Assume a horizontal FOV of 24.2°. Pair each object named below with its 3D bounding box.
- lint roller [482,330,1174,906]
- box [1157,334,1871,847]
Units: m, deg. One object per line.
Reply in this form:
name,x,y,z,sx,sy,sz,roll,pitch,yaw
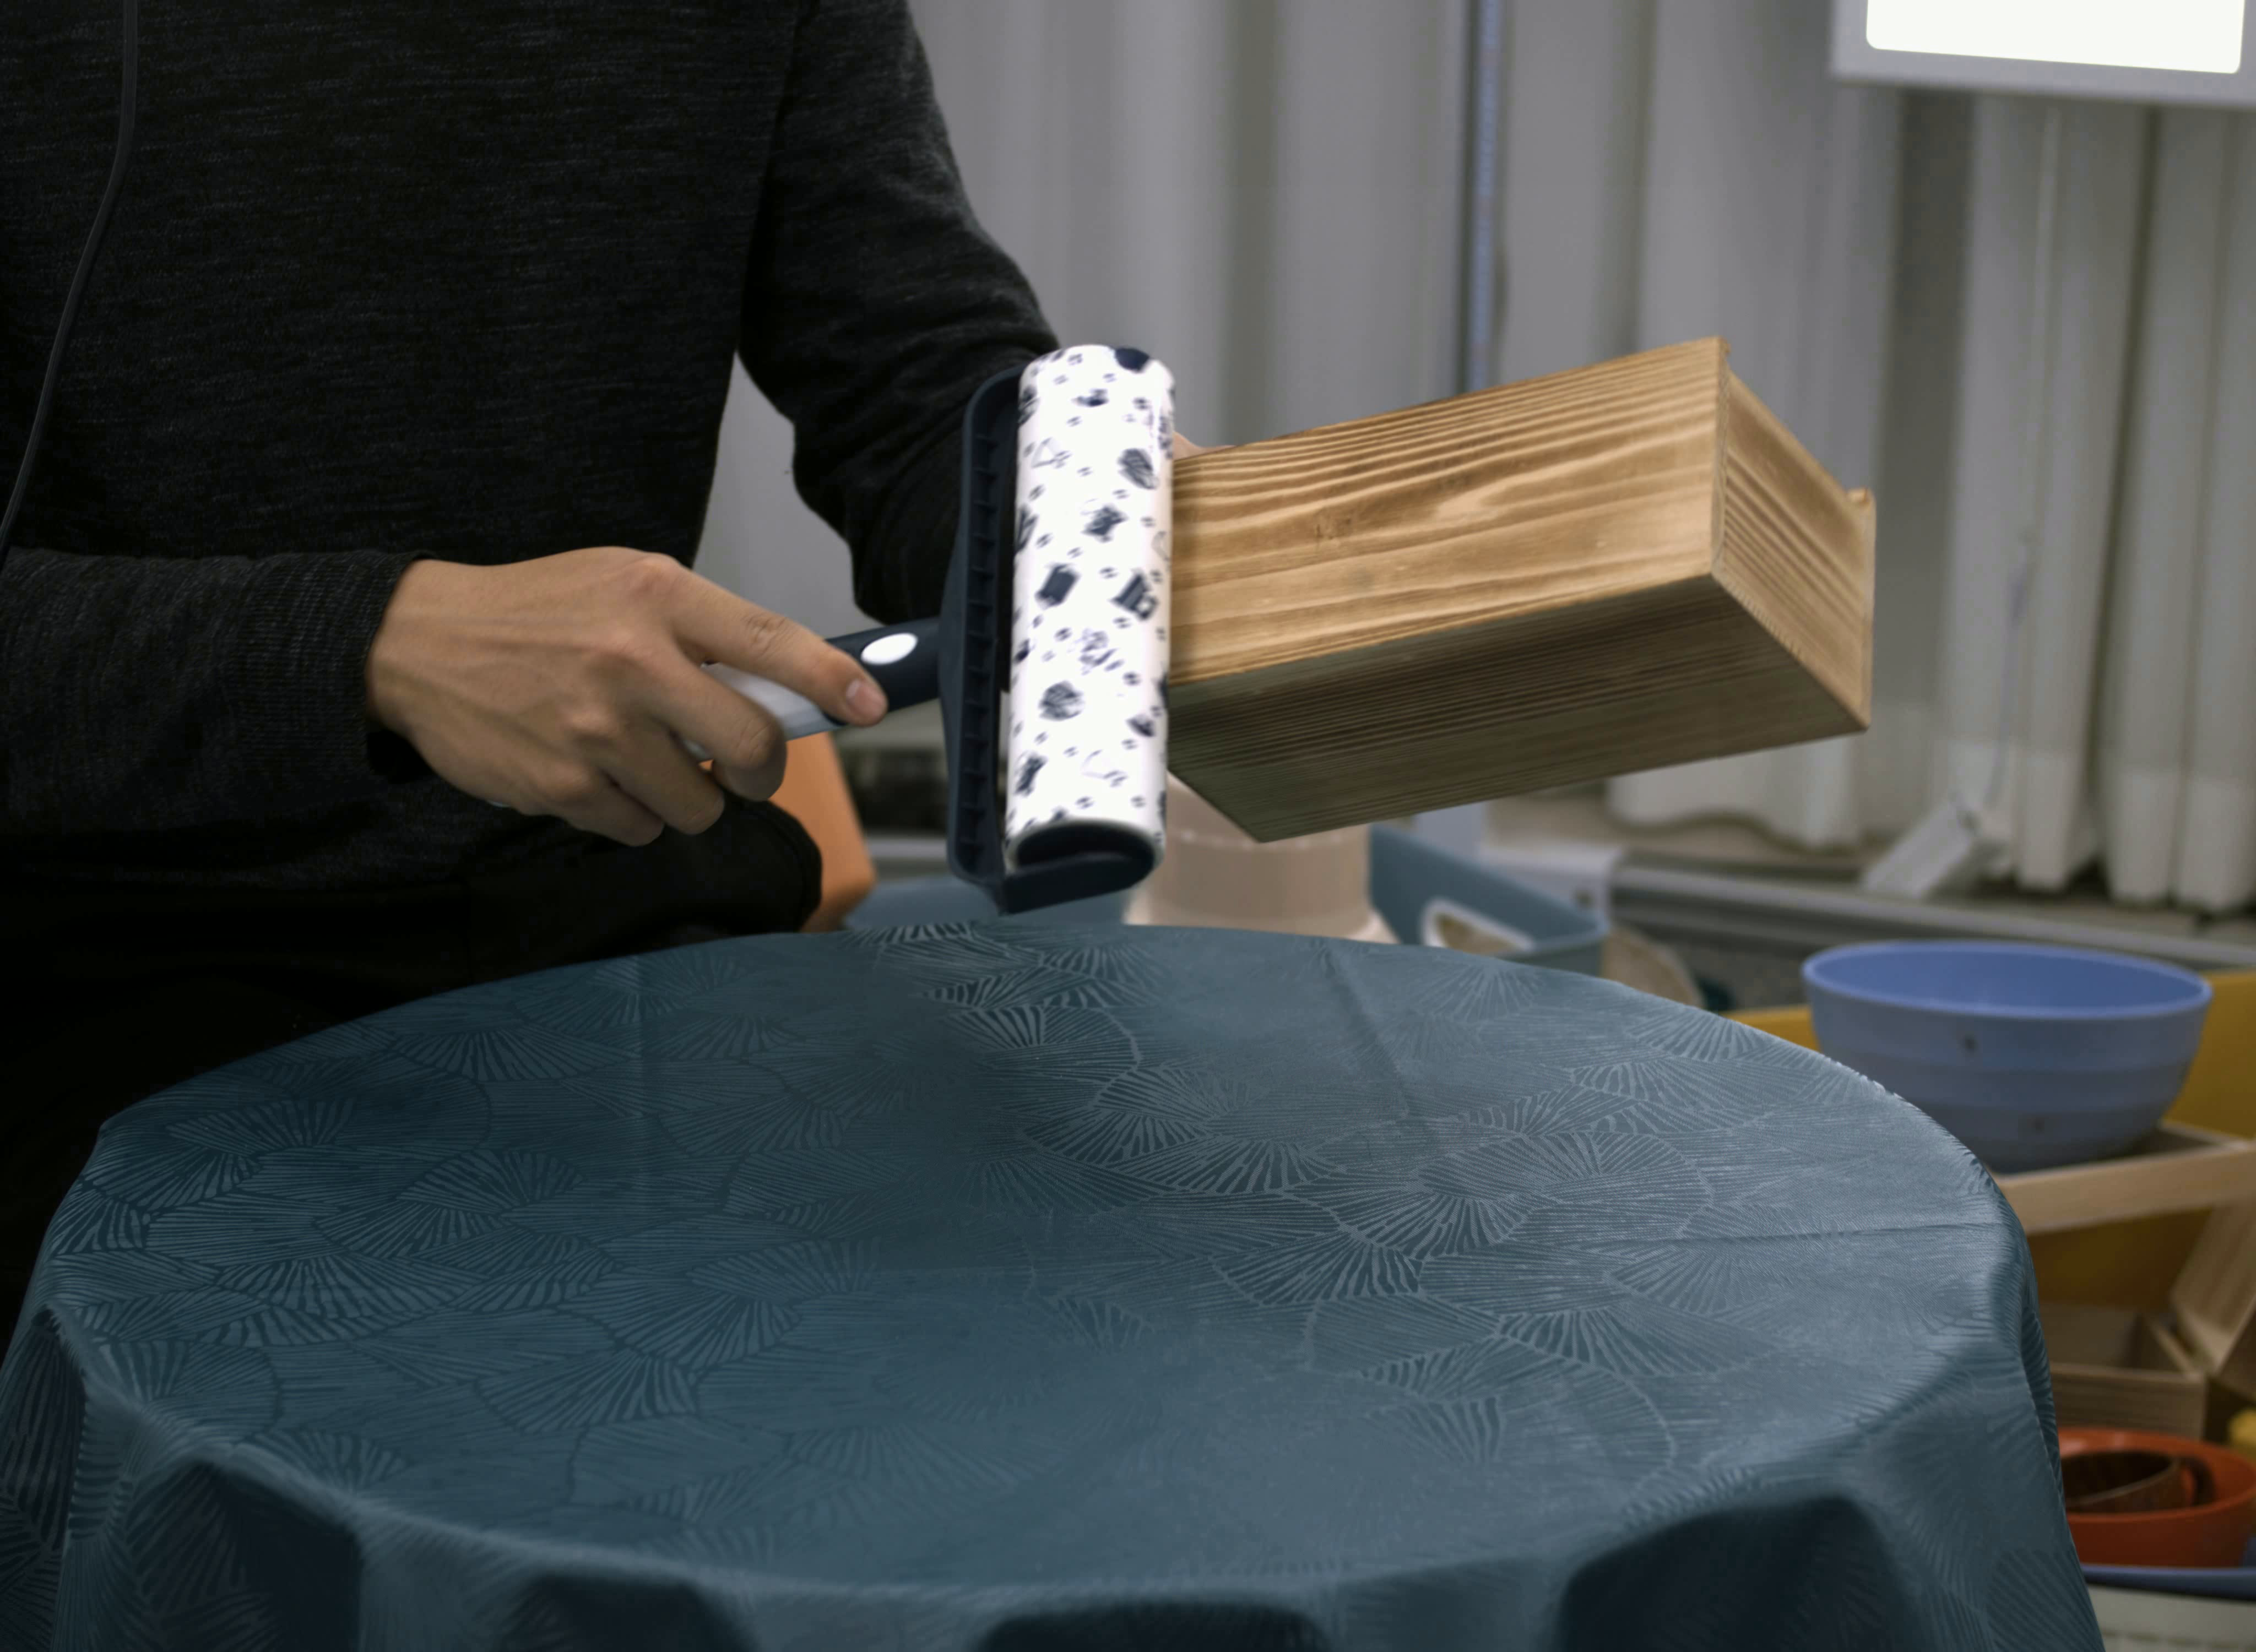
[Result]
lint roller,-0.097,-0.043,1.592,0.245,0.175,0.051,-13,-29,25
box,0.104,-0.067,1.575,0.209,0.080,0.109,-10,-30,29
